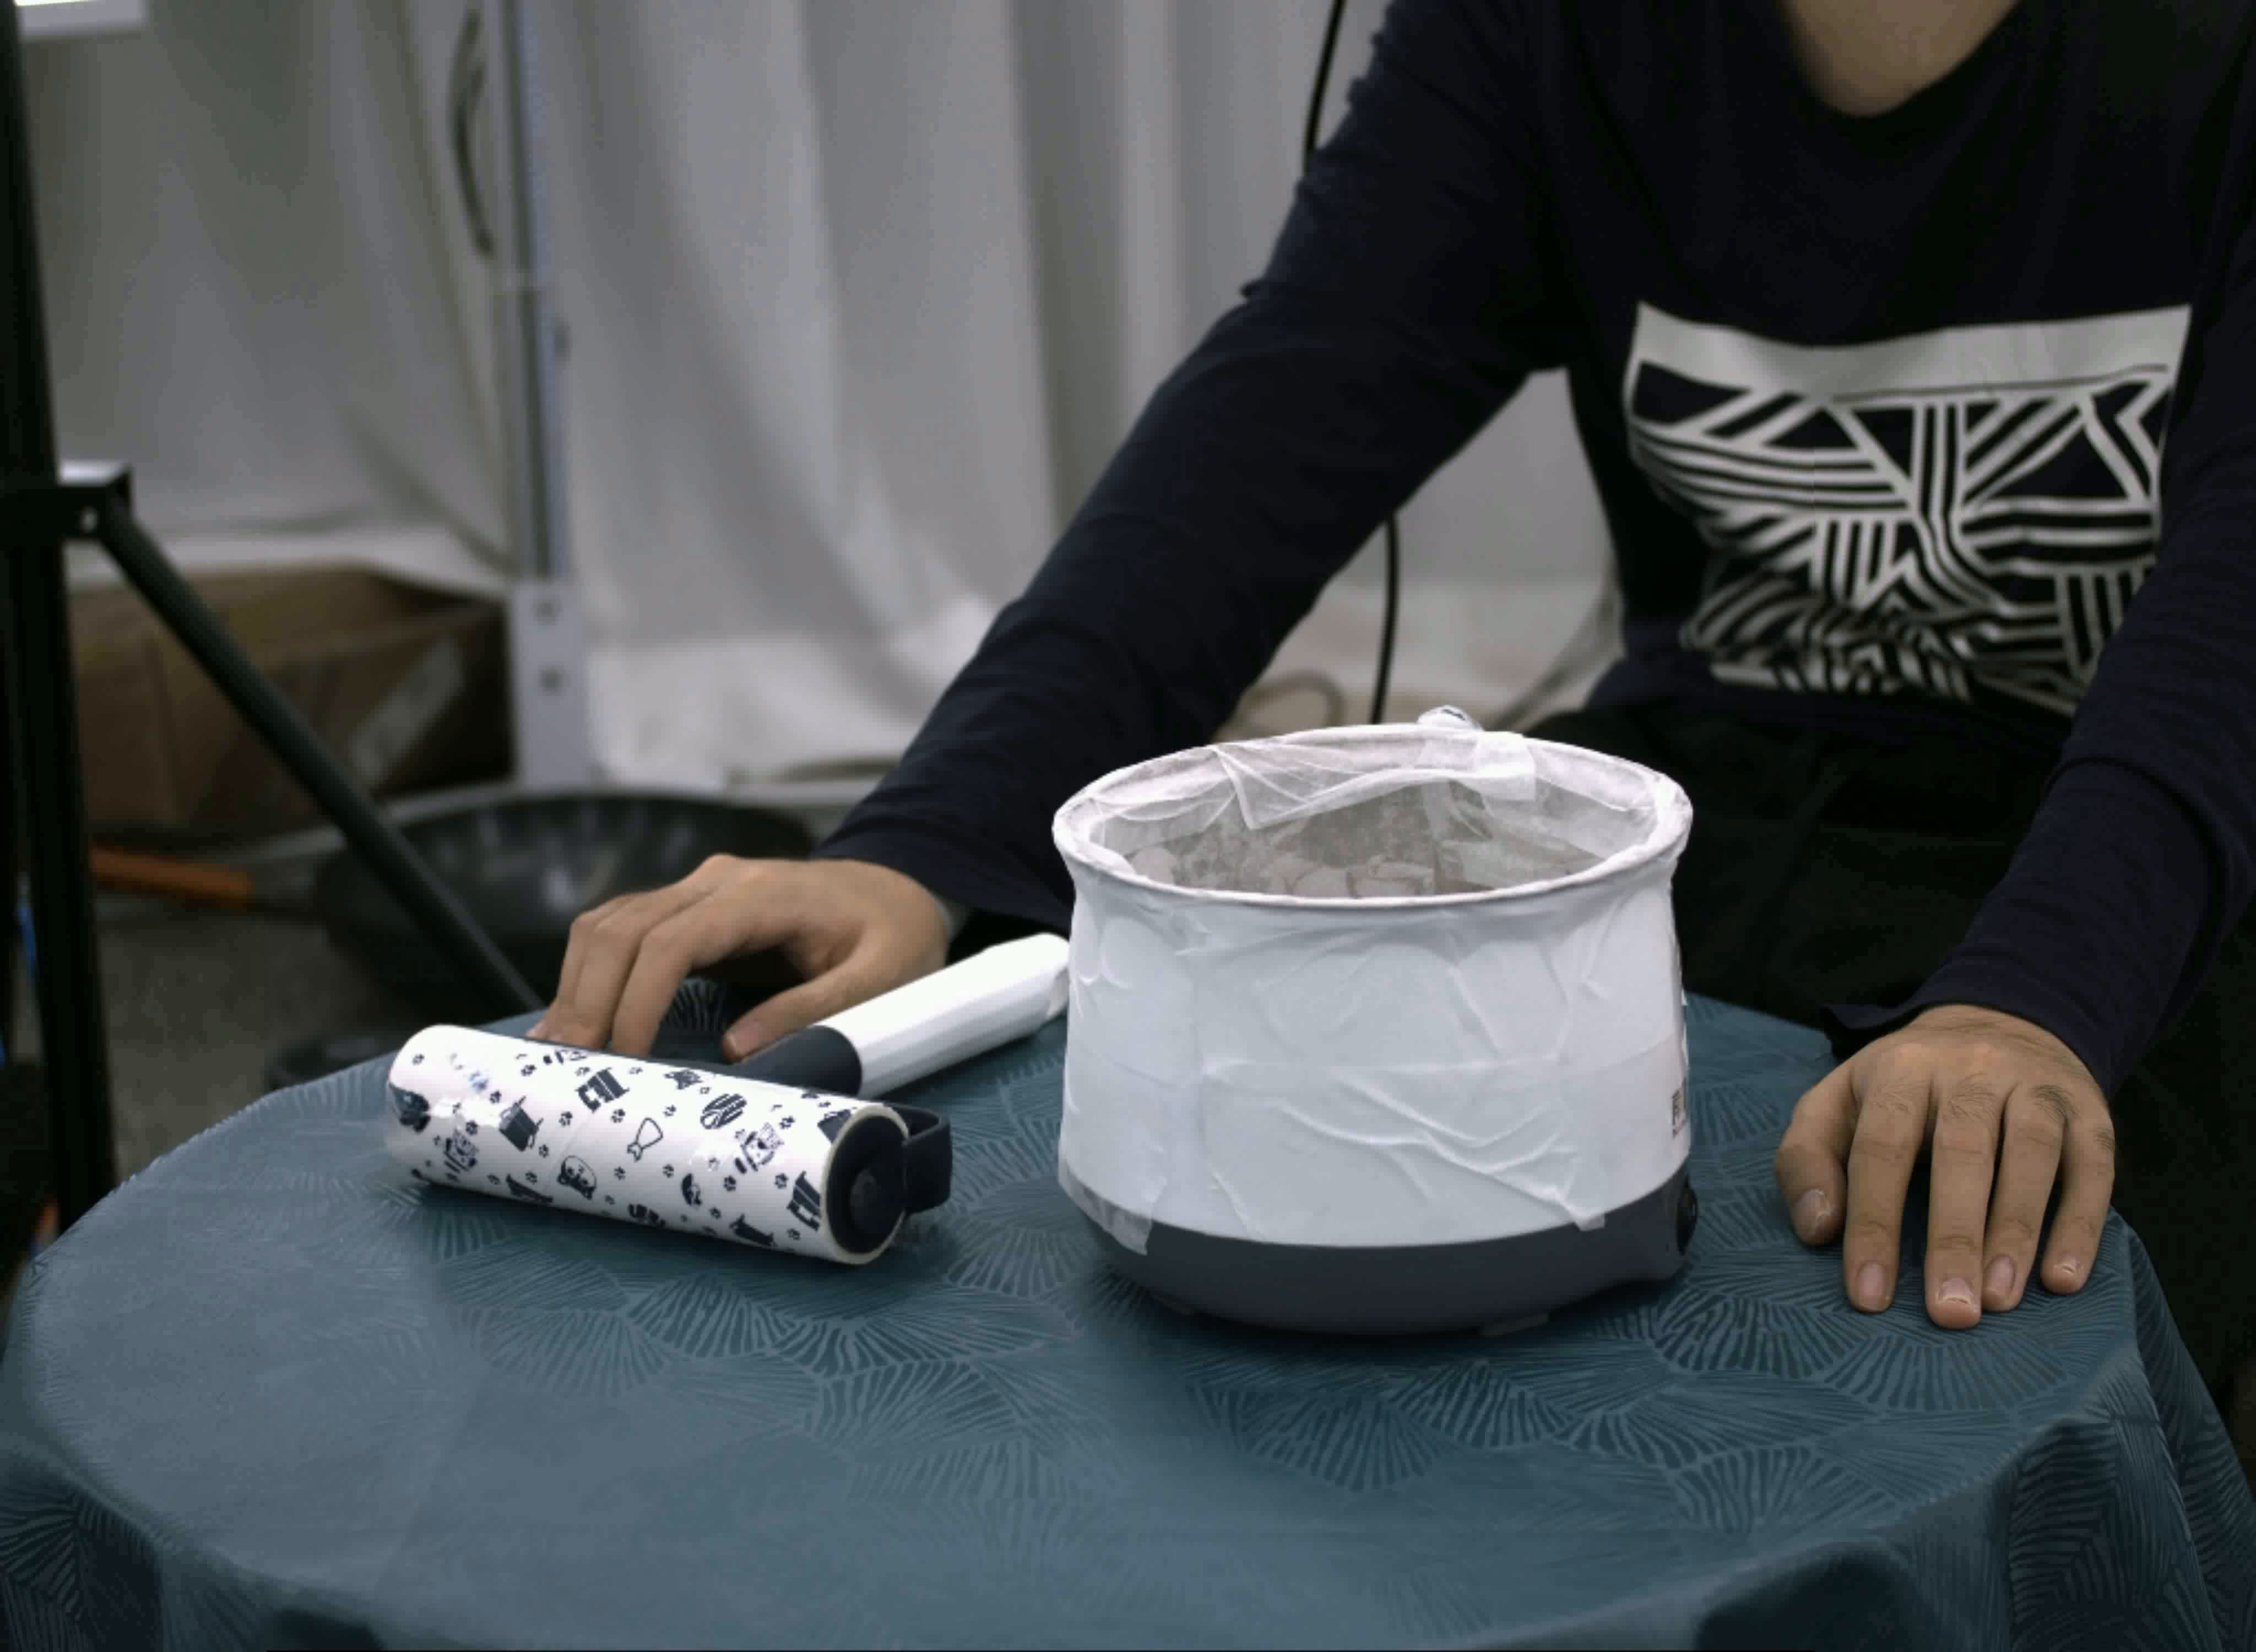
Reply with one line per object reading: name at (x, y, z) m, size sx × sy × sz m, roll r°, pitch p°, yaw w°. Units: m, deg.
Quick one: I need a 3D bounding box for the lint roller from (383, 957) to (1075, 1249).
lint roller at (-0.089, 0.069, 1.635) m, size 0.179 × 0.050 × 0.242 m, roll 6°, pitch 16°, yaw 32°

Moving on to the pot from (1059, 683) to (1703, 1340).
pot at (0.075, 0.046, 1.505) m, size 0.180 × 0.136 × 0.232 m, roll 5°, pitch 19°, yaw 14°
